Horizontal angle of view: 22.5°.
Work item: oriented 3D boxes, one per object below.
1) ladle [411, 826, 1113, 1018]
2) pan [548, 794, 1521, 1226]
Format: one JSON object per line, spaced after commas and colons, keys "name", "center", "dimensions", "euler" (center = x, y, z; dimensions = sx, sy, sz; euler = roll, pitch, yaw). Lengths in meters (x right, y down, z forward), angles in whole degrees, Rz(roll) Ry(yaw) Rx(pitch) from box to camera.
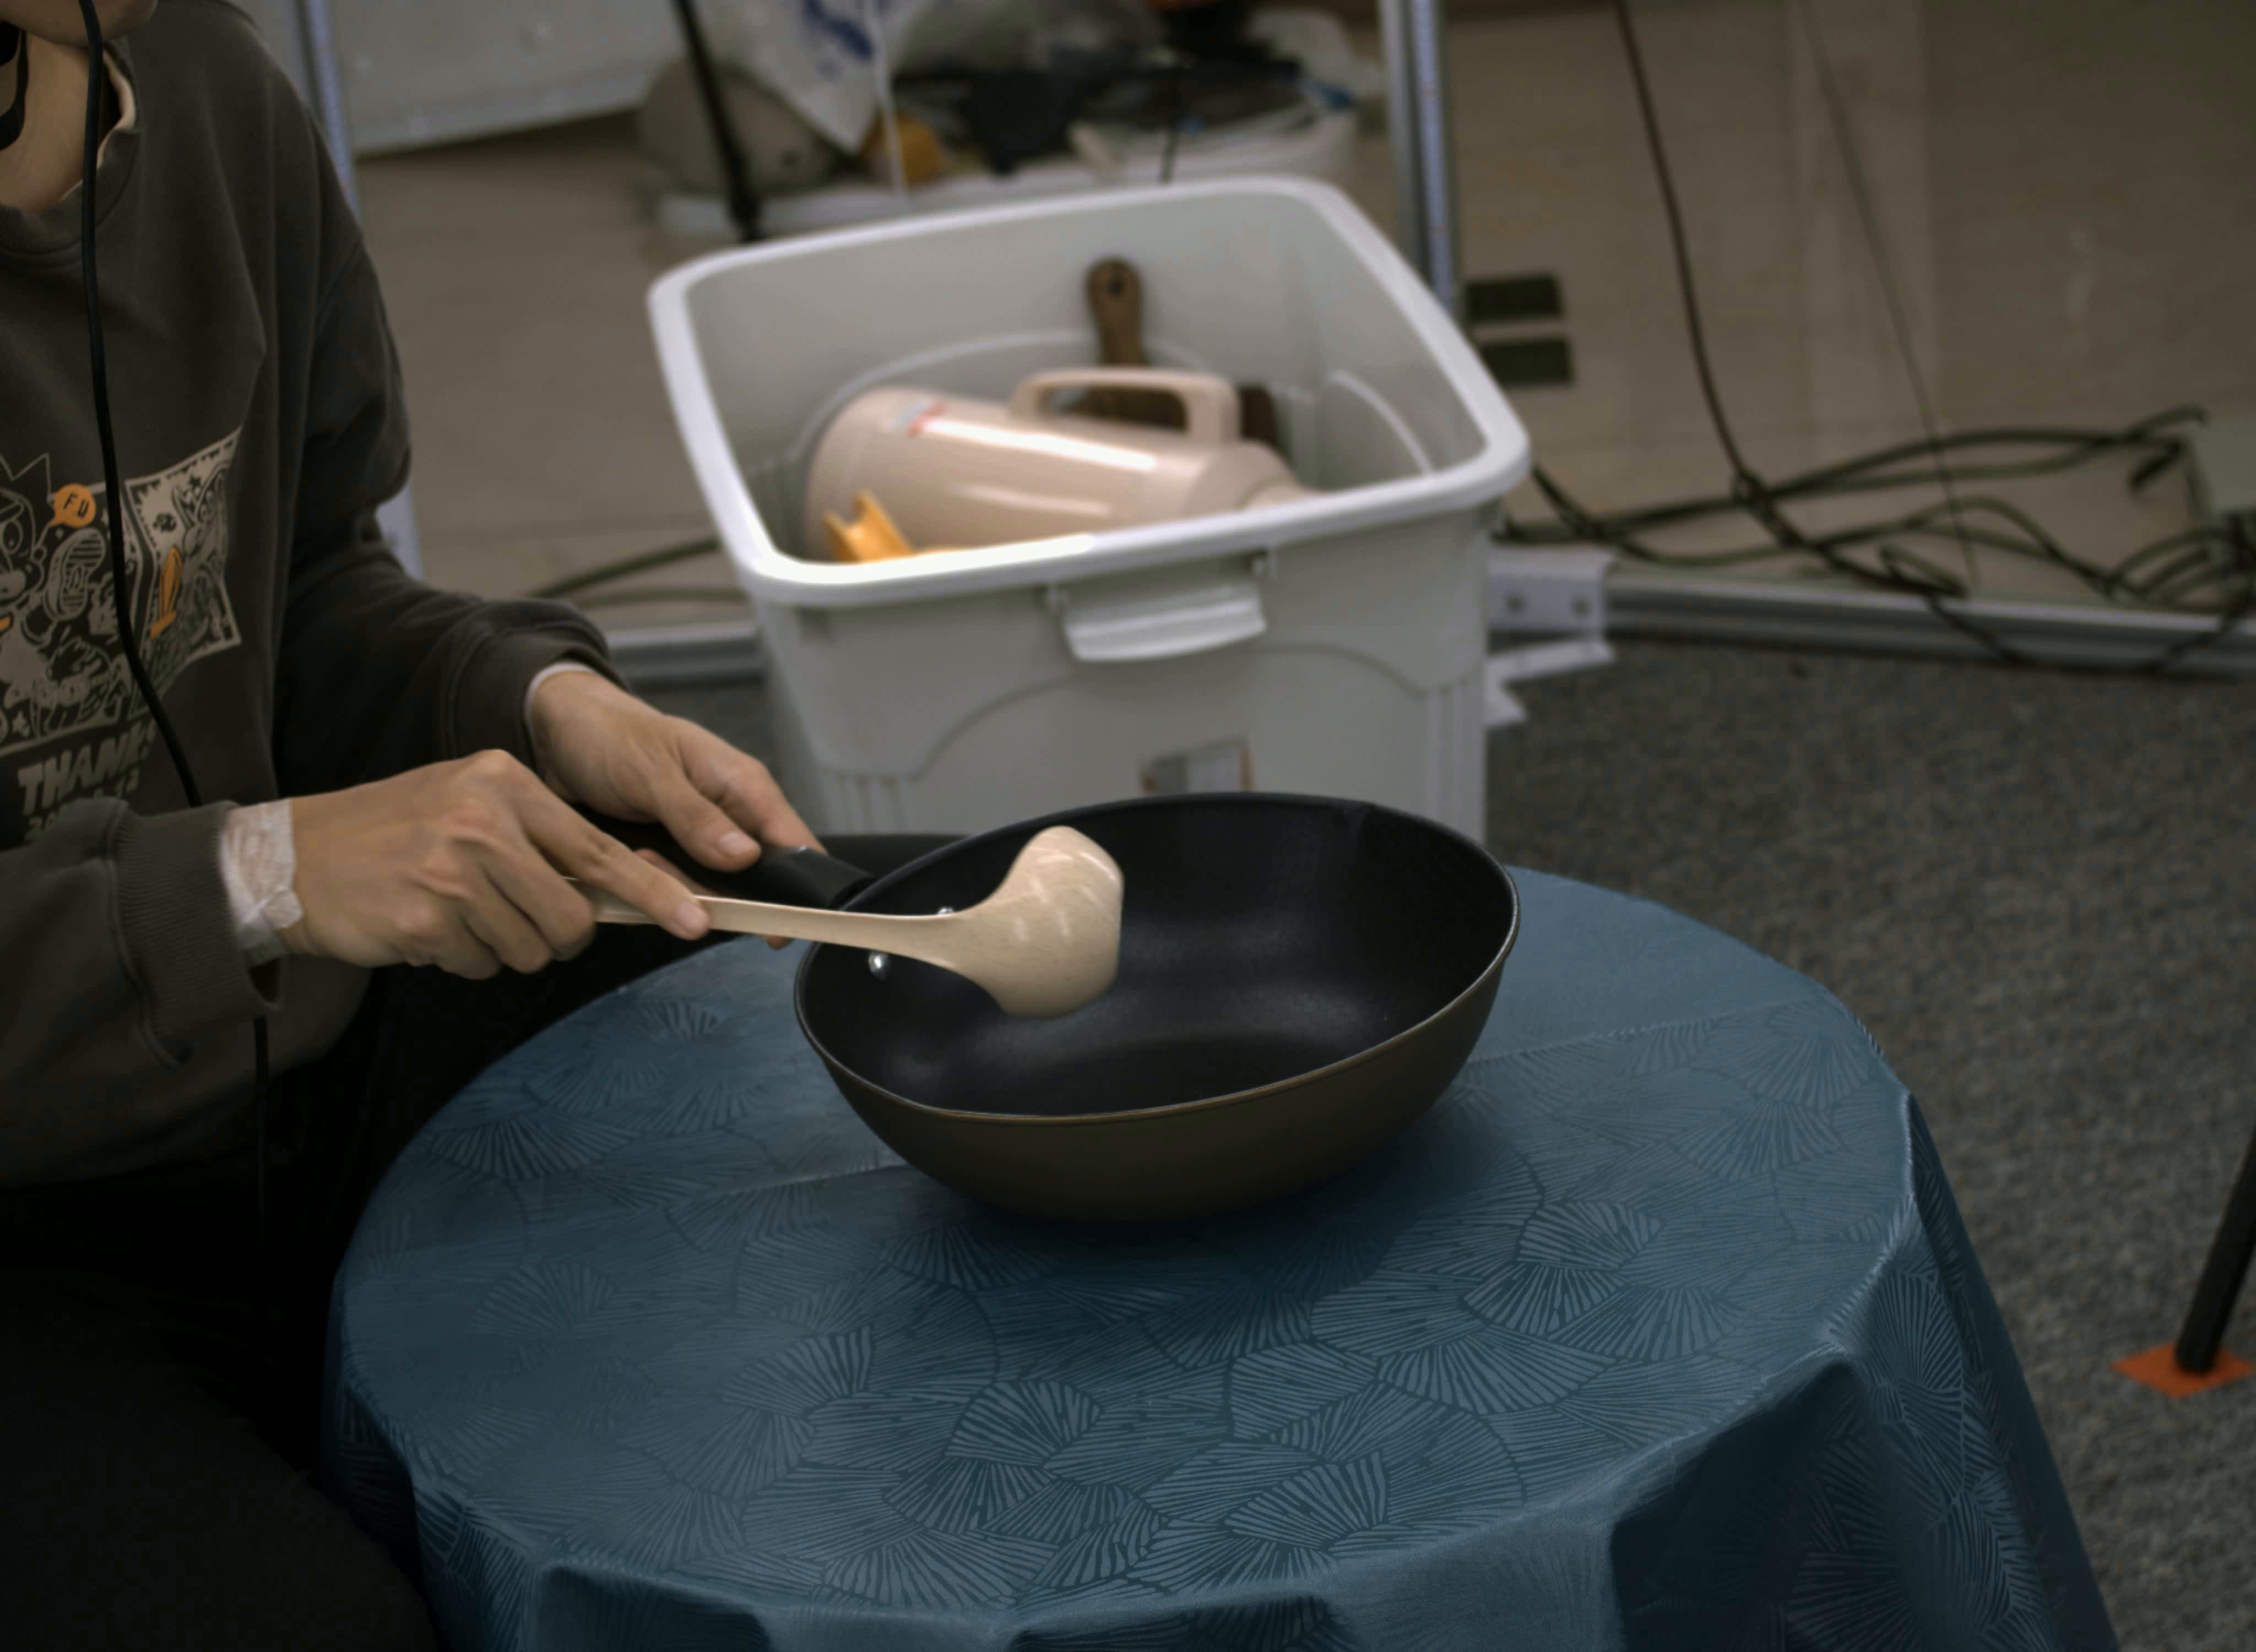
{"name": "ladle", "center": [-0.132, 0.020, 2.085], "dimensions": [0.254, 0.073, 0.072], "euler": [9, 24, 1]}
{"name": "pan", "center": [-0.056, 0.066, 2.221], "dimensions": [0.461, 0.088, 0.285], "euler": [11, 30, 37]}
